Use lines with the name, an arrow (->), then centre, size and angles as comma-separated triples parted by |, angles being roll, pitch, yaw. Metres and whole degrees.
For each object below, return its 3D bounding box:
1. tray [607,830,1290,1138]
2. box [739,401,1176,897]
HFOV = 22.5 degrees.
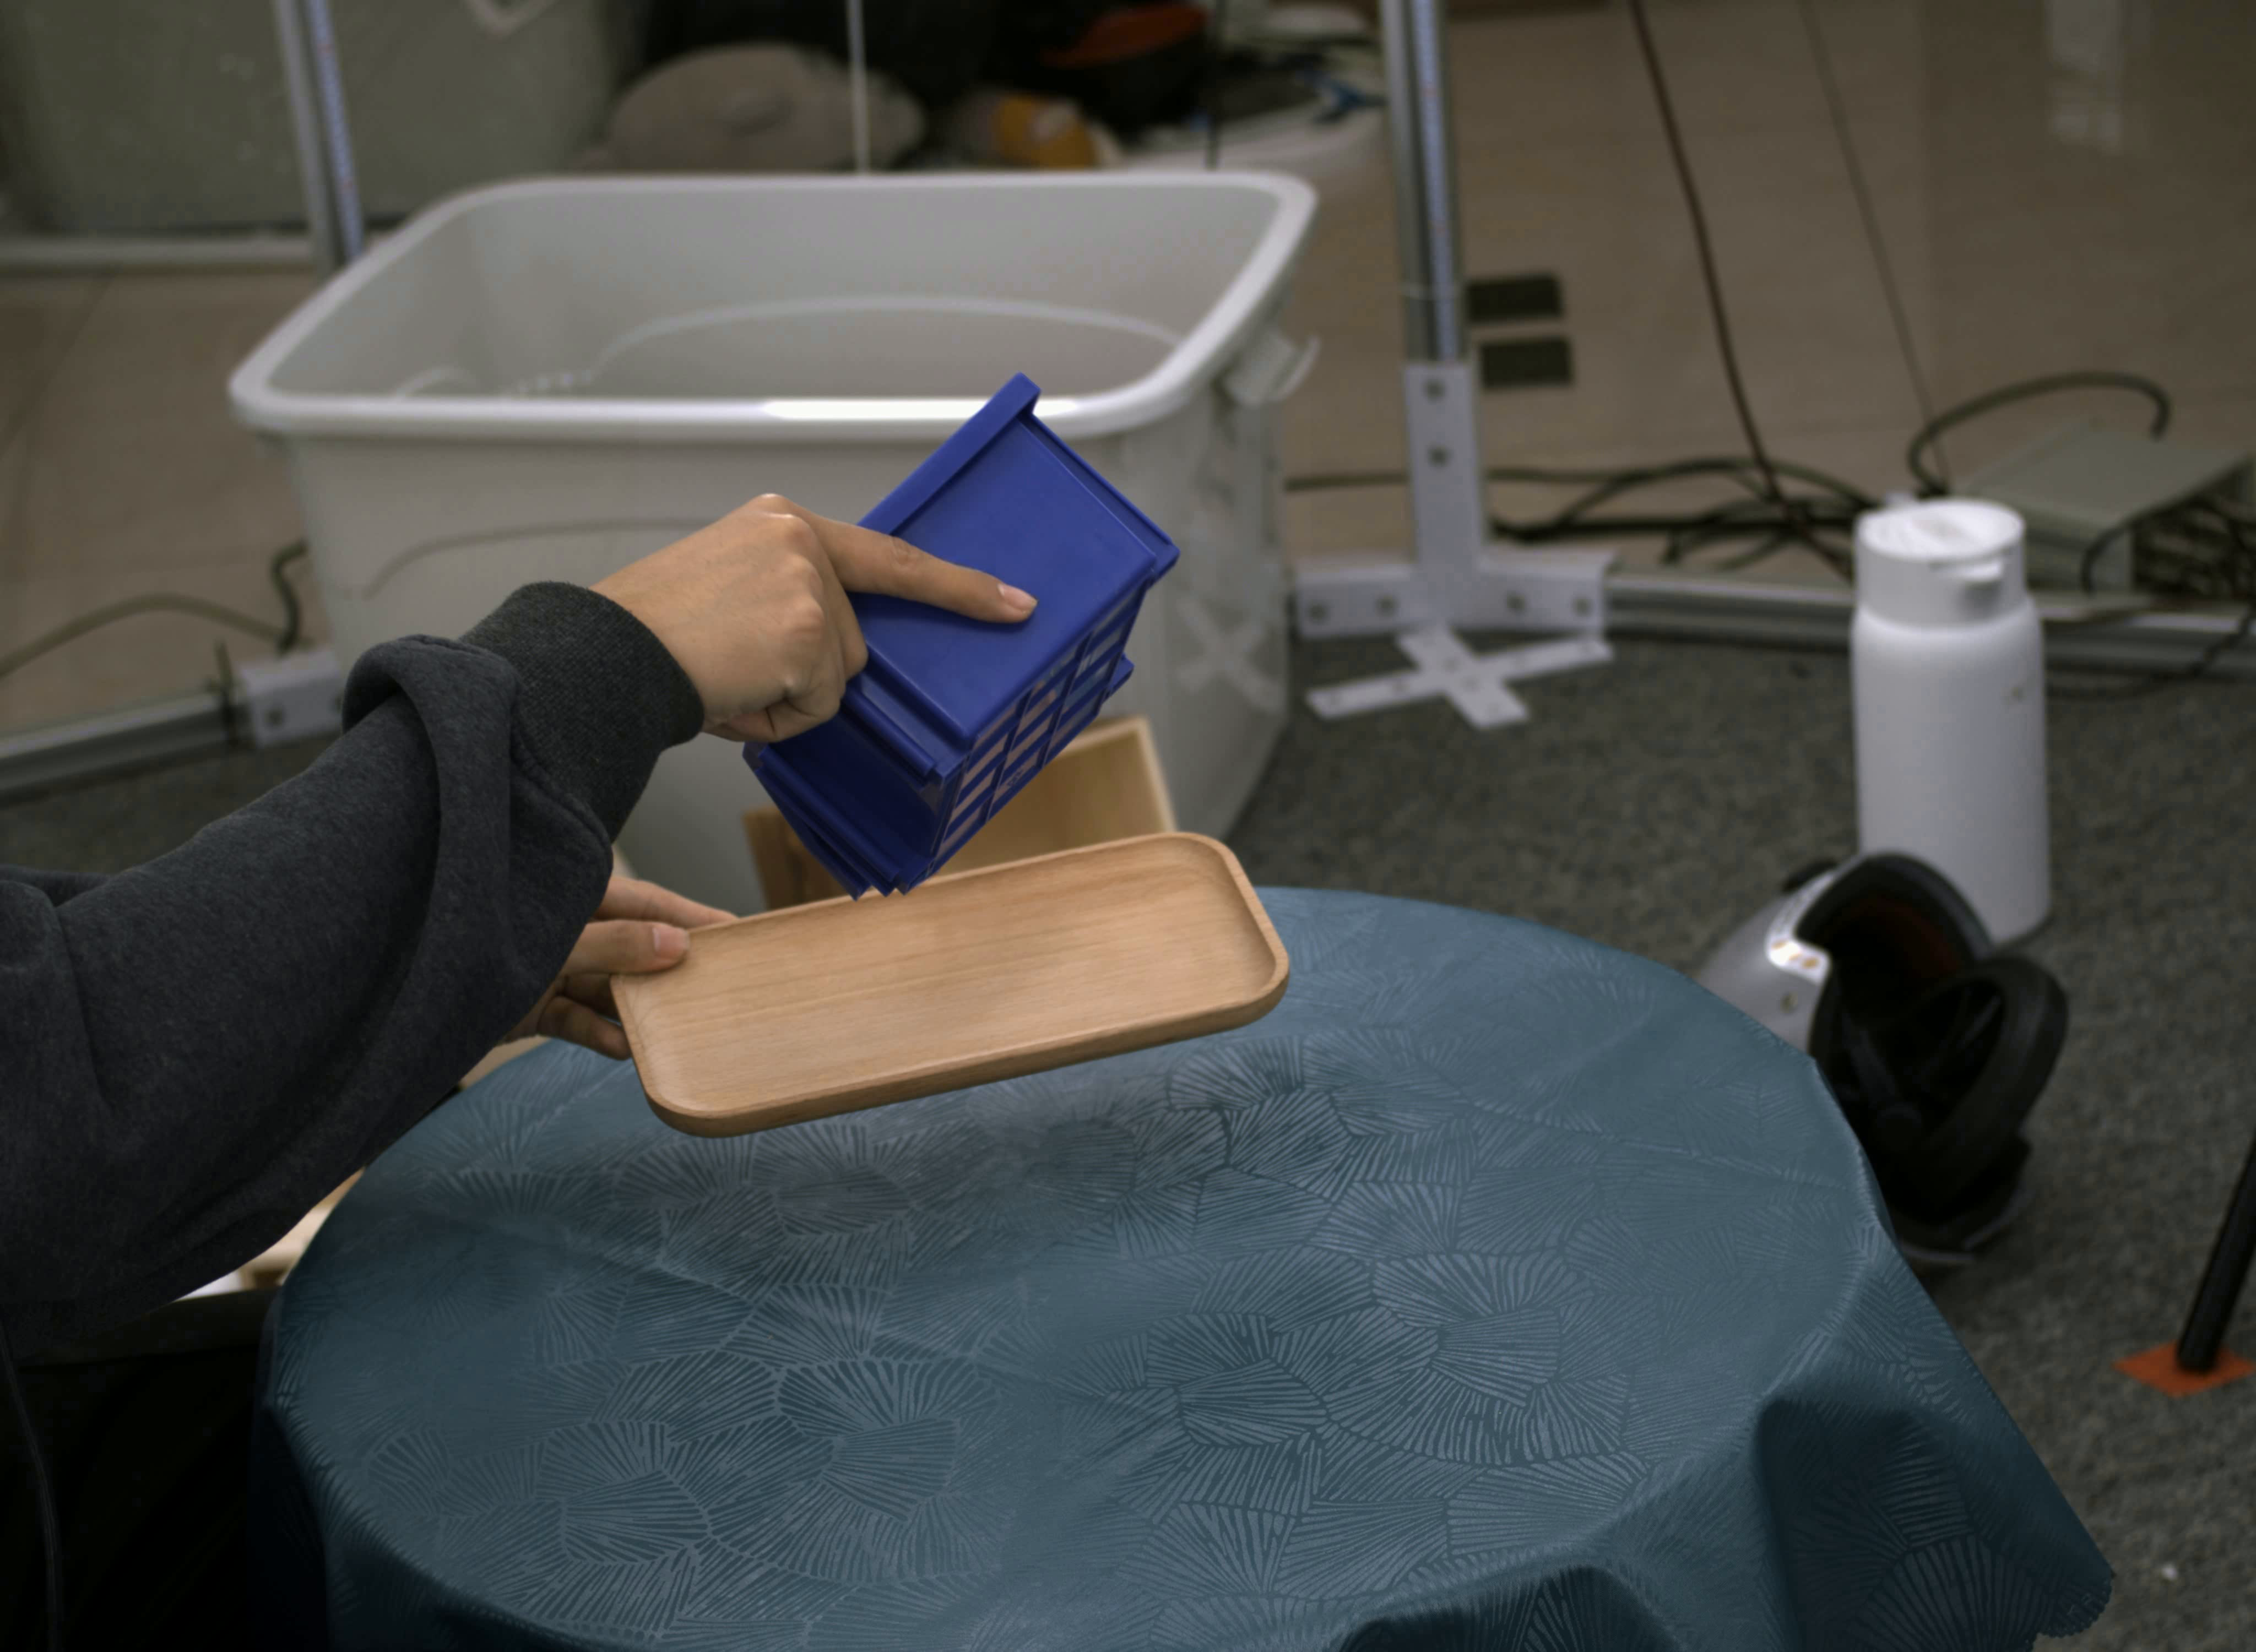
tray -> -0.069, 0.060, 2.158 | 0.250, 0.023, 0.128 | -12, 32, -10
box -> -0.064, -0.053, 1.987 | 0.123, 0.082, 0.181 | -45, -3, -18
